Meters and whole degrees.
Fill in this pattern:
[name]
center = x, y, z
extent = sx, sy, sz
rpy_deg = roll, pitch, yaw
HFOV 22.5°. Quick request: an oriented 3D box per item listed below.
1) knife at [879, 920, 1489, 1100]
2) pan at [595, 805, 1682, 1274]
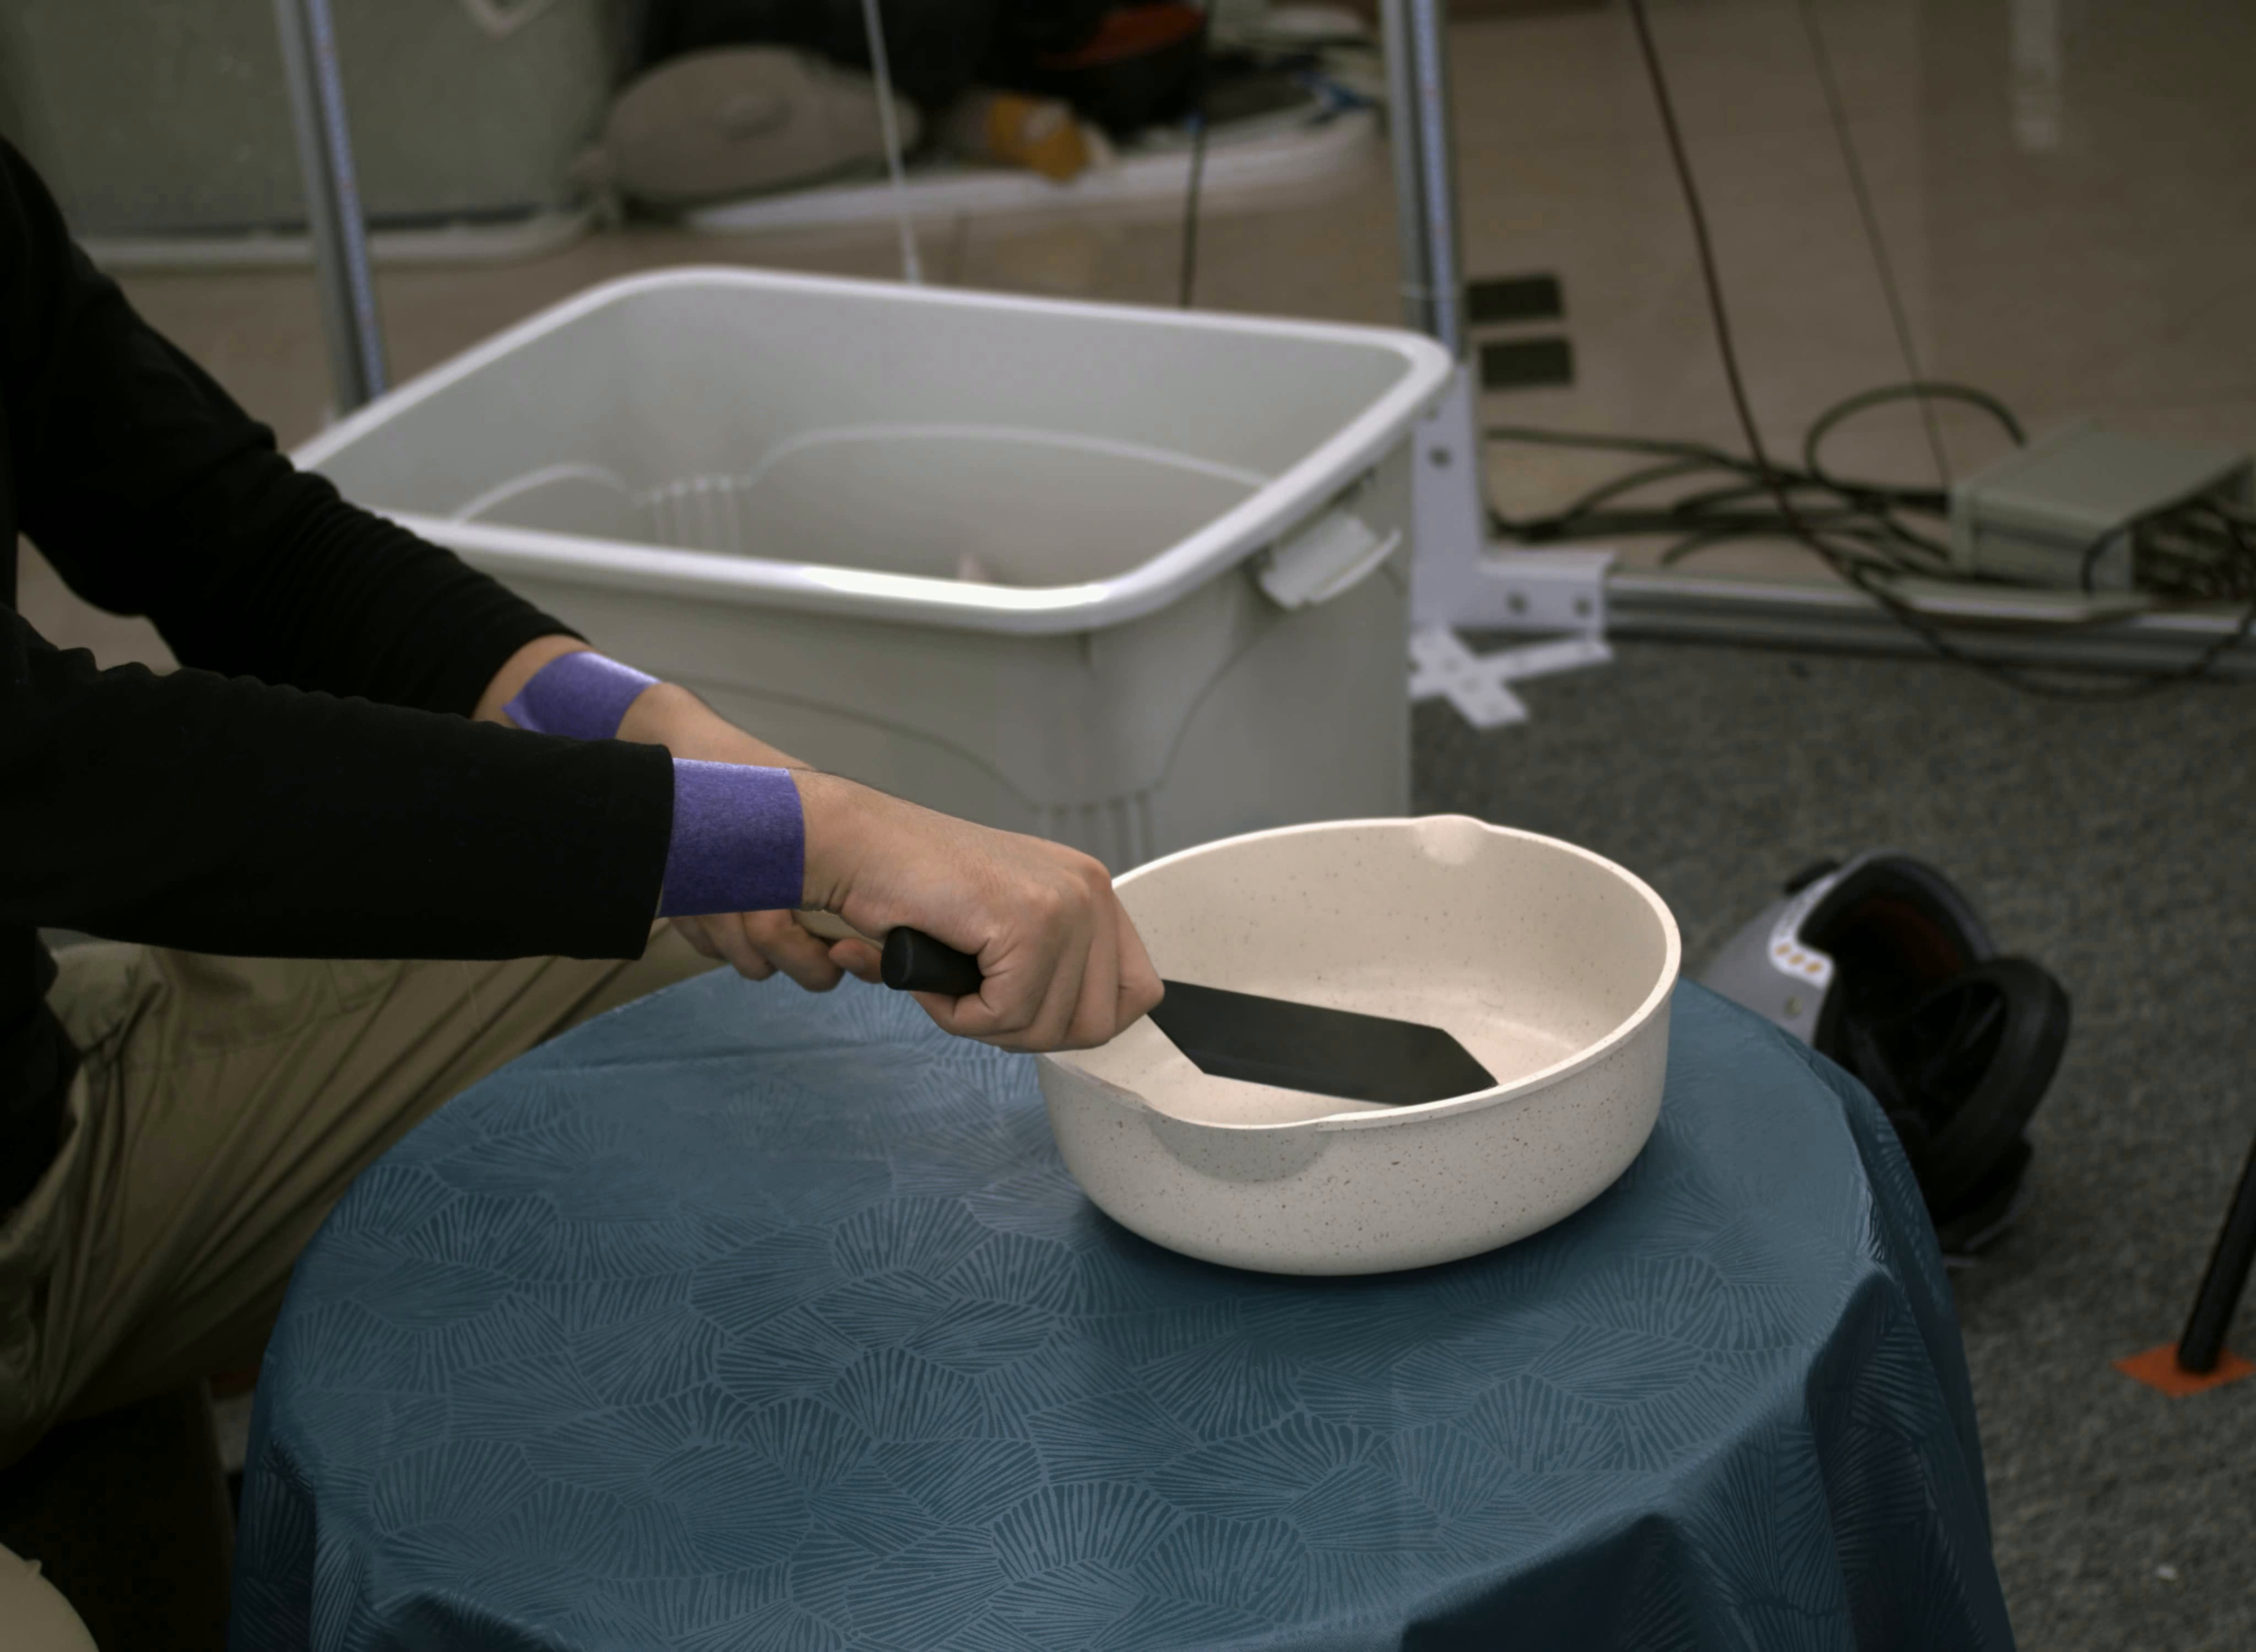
[knife]
center = 0.029, 0.072, 2.070
extent = 0.303, 0.021, 0.080
rpy_deg = 14, 24, -39
[pan]
center = 0.000, 0.072, 2.174
extent = 0.433, 0.103, 0.260
rpy_deg = 4, 29, 21
